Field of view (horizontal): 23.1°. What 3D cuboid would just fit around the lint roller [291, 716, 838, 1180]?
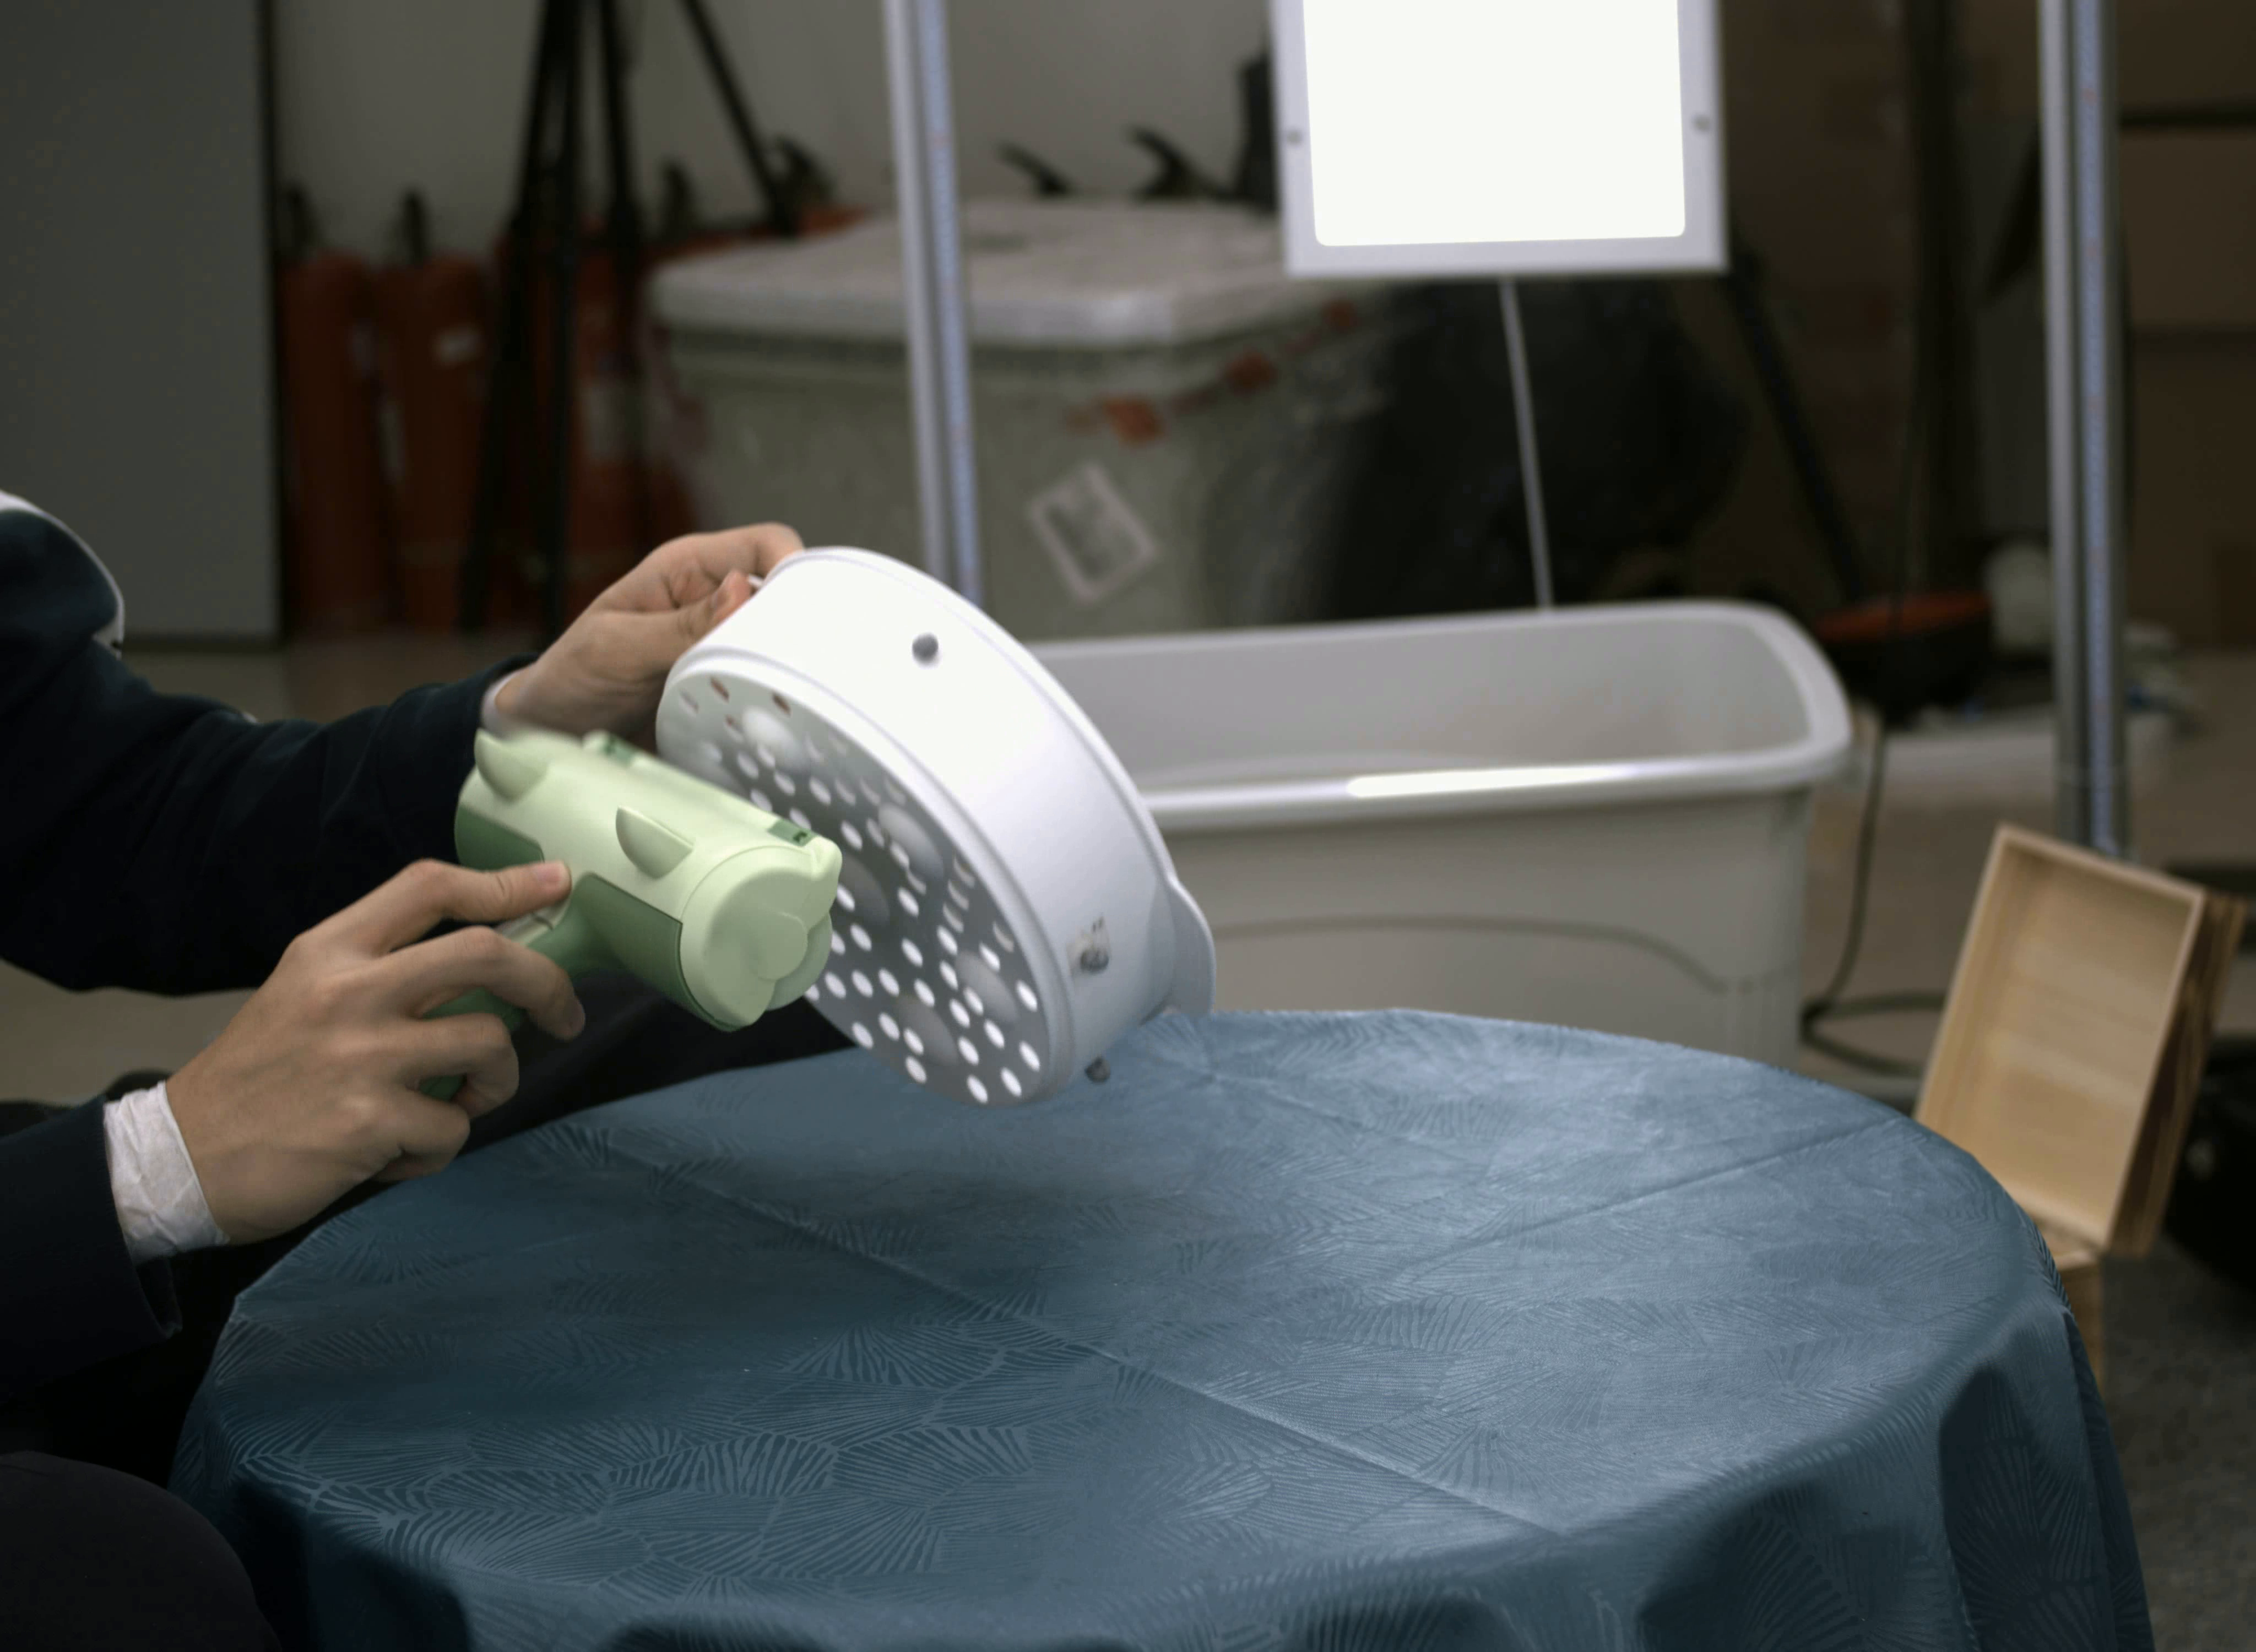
[{"bbox_3d":[-0.206,0.036,1.784,0.181,0.082,0.202,-34,28,-16],"label":"lint roller"}]

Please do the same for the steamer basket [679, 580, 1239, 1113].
[{"bbox_3d":[-0.066,0.011,1.860,0.233,0.201,0.068,38,74,25],"label":"steamer basket"}]
